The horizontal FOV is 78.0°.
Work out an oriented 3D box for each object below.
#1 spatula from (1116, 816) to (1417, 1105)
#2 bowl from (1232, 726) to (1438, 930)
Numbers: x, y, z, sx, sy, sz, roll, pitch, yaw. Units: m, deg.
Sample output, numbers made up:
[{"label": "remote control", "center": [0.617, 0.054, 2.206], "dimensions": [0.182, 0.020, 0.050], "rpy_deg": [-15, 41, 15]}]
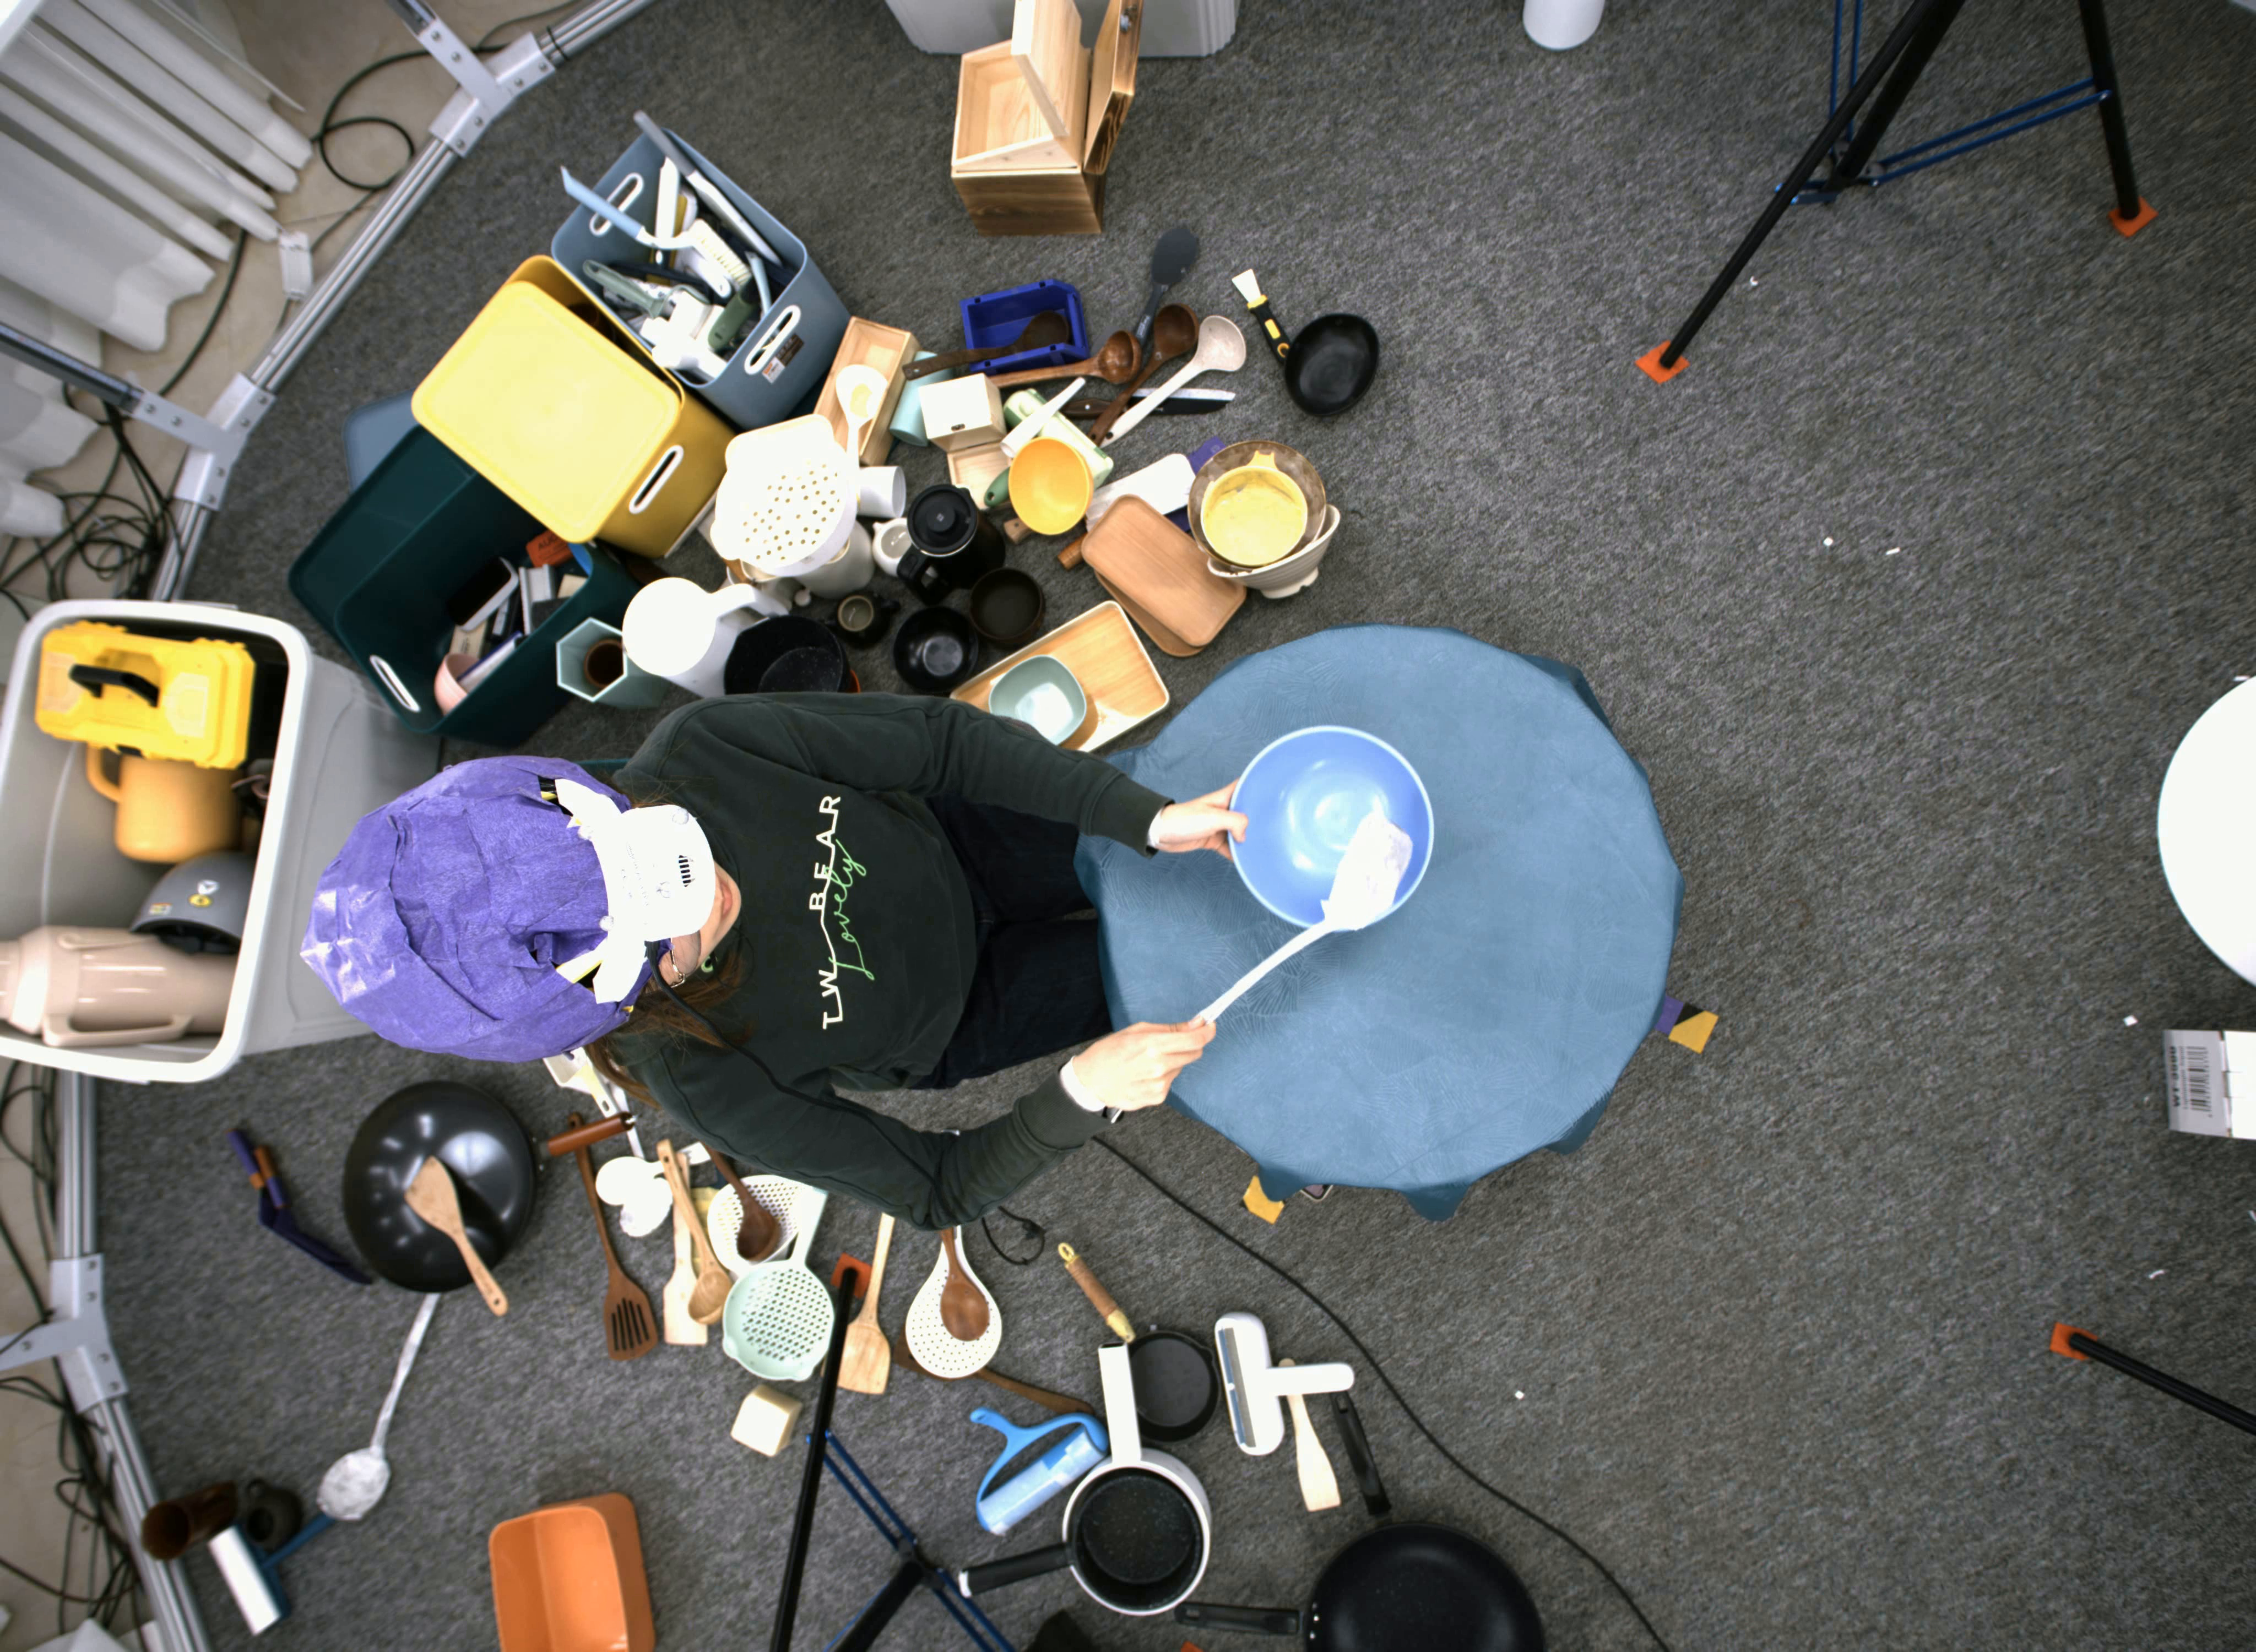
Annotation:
[{"label": "spatula", "center": [0.118, 0.130, 1.252], "dimensions": [0.366, 0.097, 0.045], "rpy_deg": [-40, 119, 5]}, {"label": "bowl", "center": [0.207, -0.005, 1.352], "dimensions": [0.197, 0.094, 0.198], "rpy_deg": [3, 102, 16]}]
